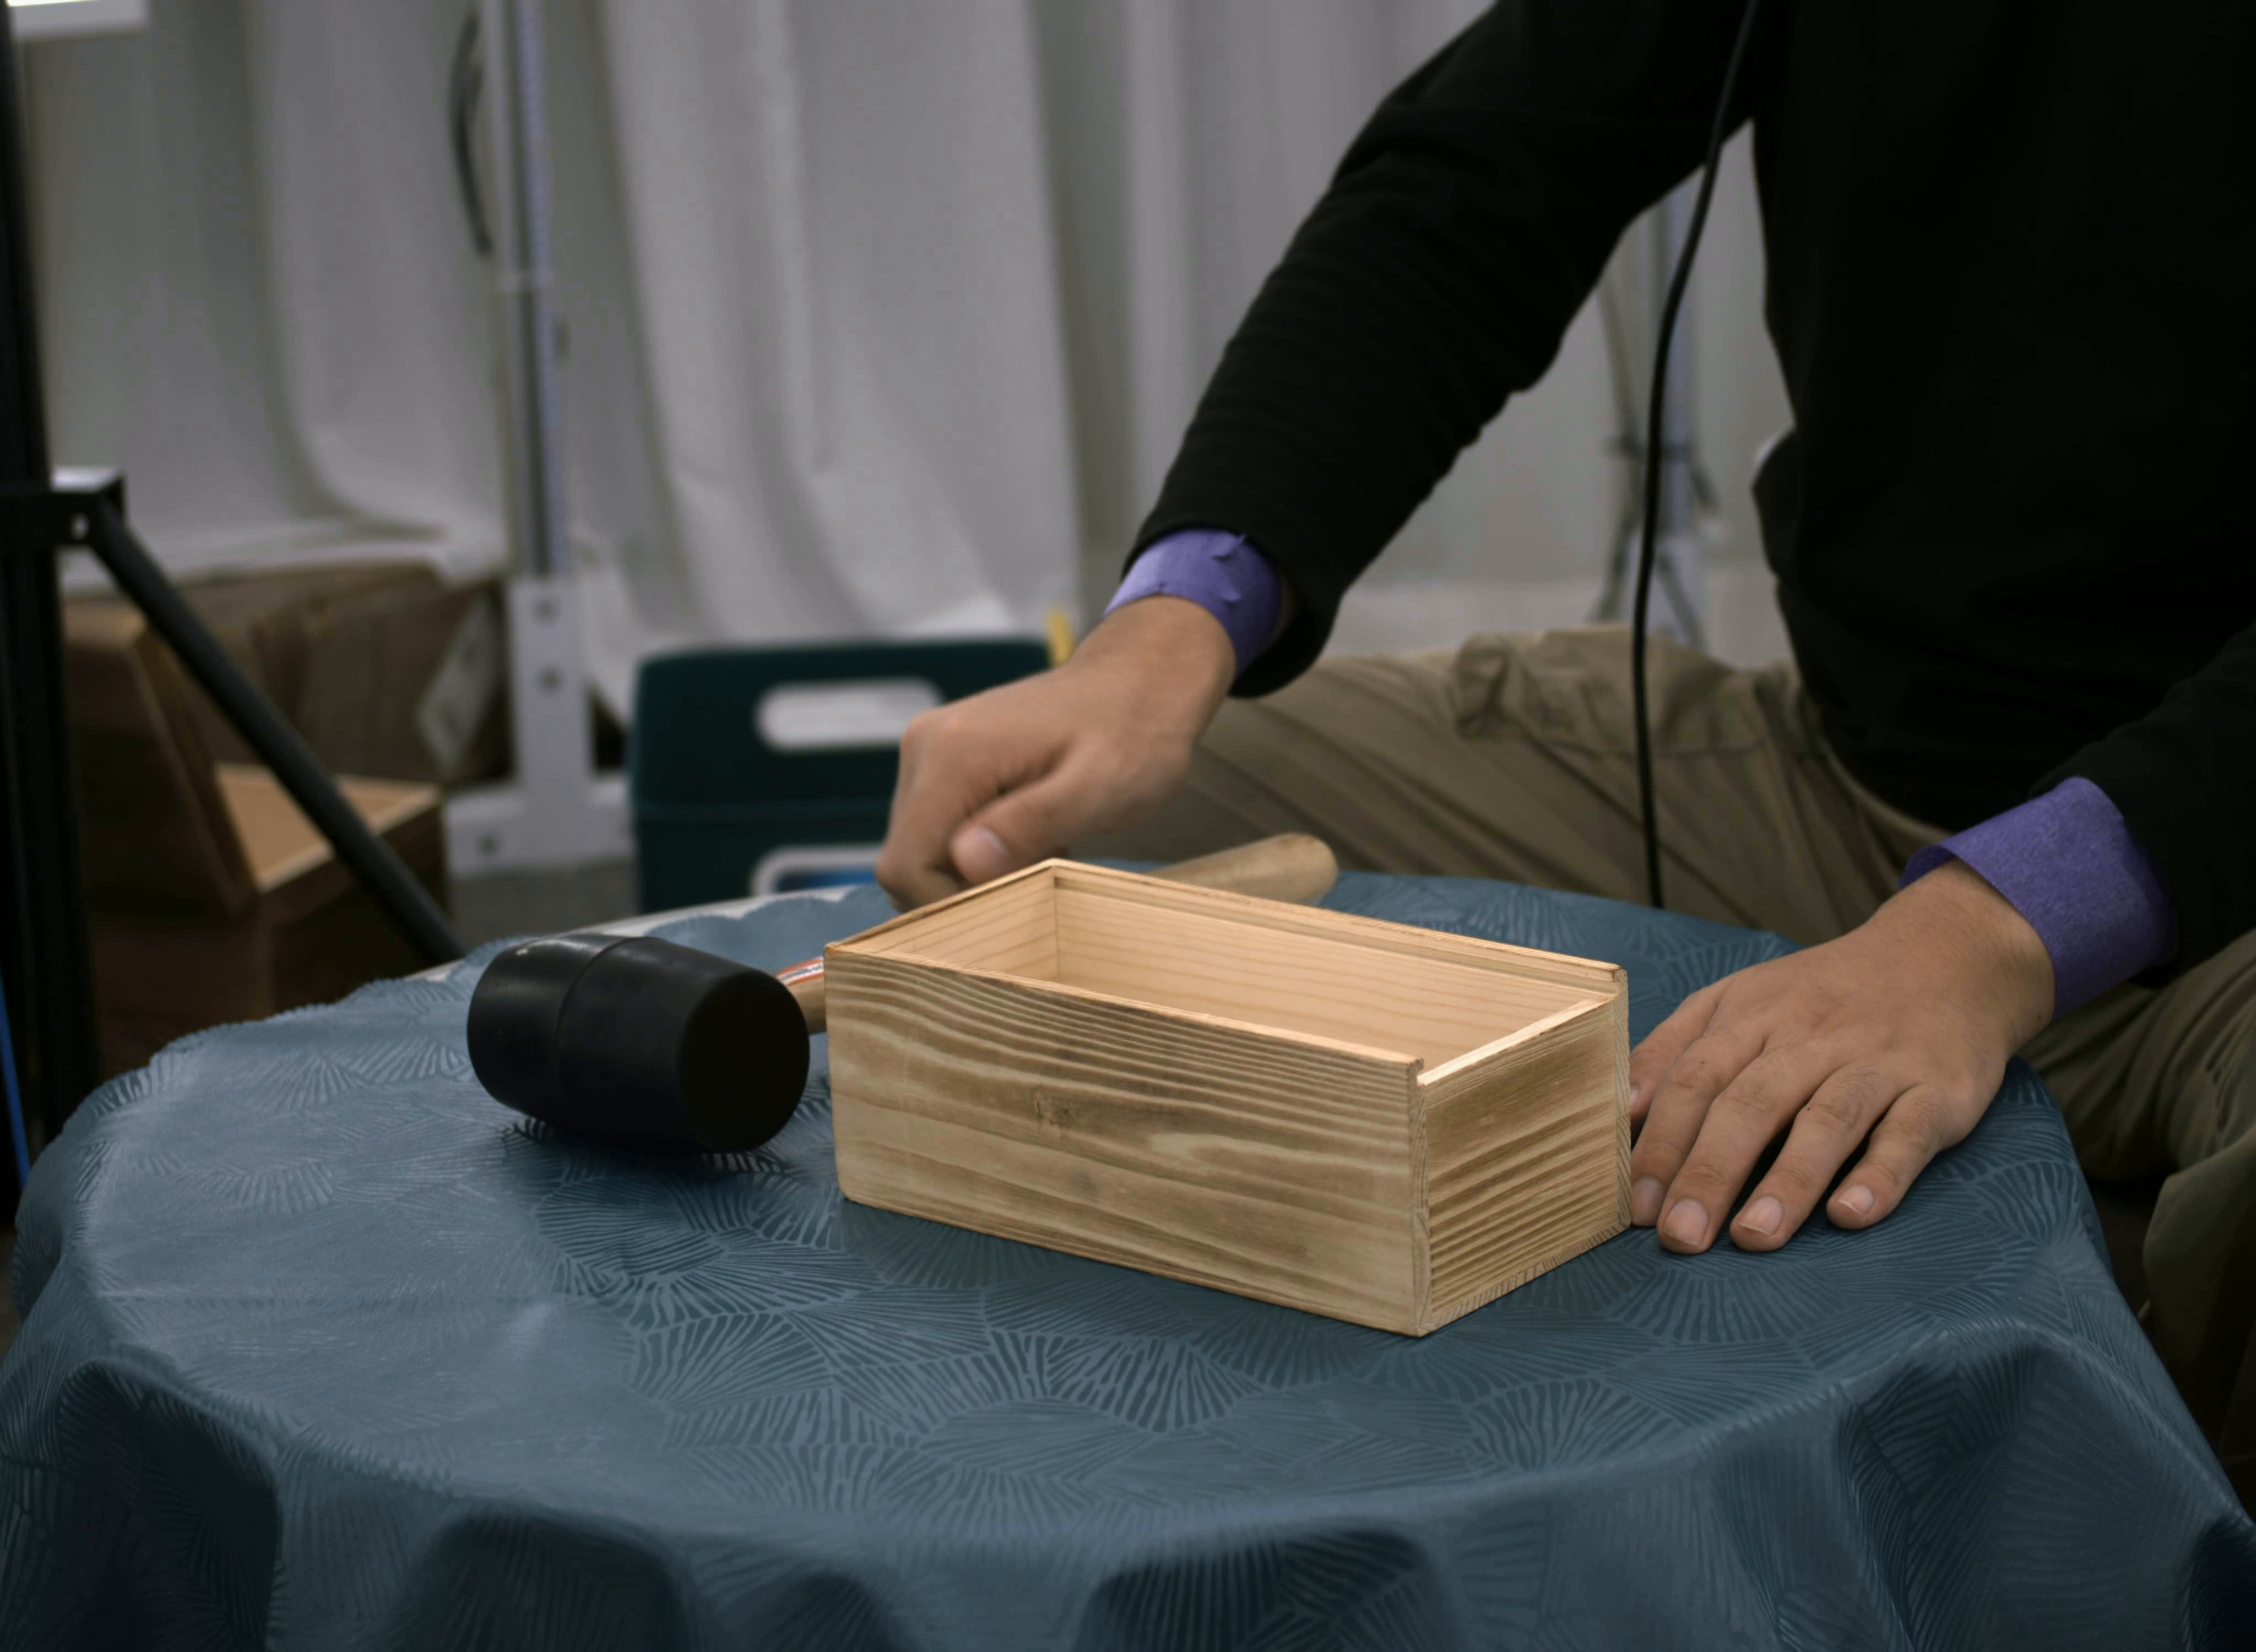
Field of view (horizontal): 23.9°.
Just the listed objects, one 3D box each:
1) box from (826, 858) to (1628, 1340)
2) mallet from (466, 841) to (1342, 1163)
[{"bbox_3d":[0.027,0.075,1.523,0.216,0.080,0.105,10,20,39],"label":"box"},{"bbox_3d":[-0.055,0.037,1.705,0.331,0.064,0.104,-17,21,-42],"label":"mallet"}]
